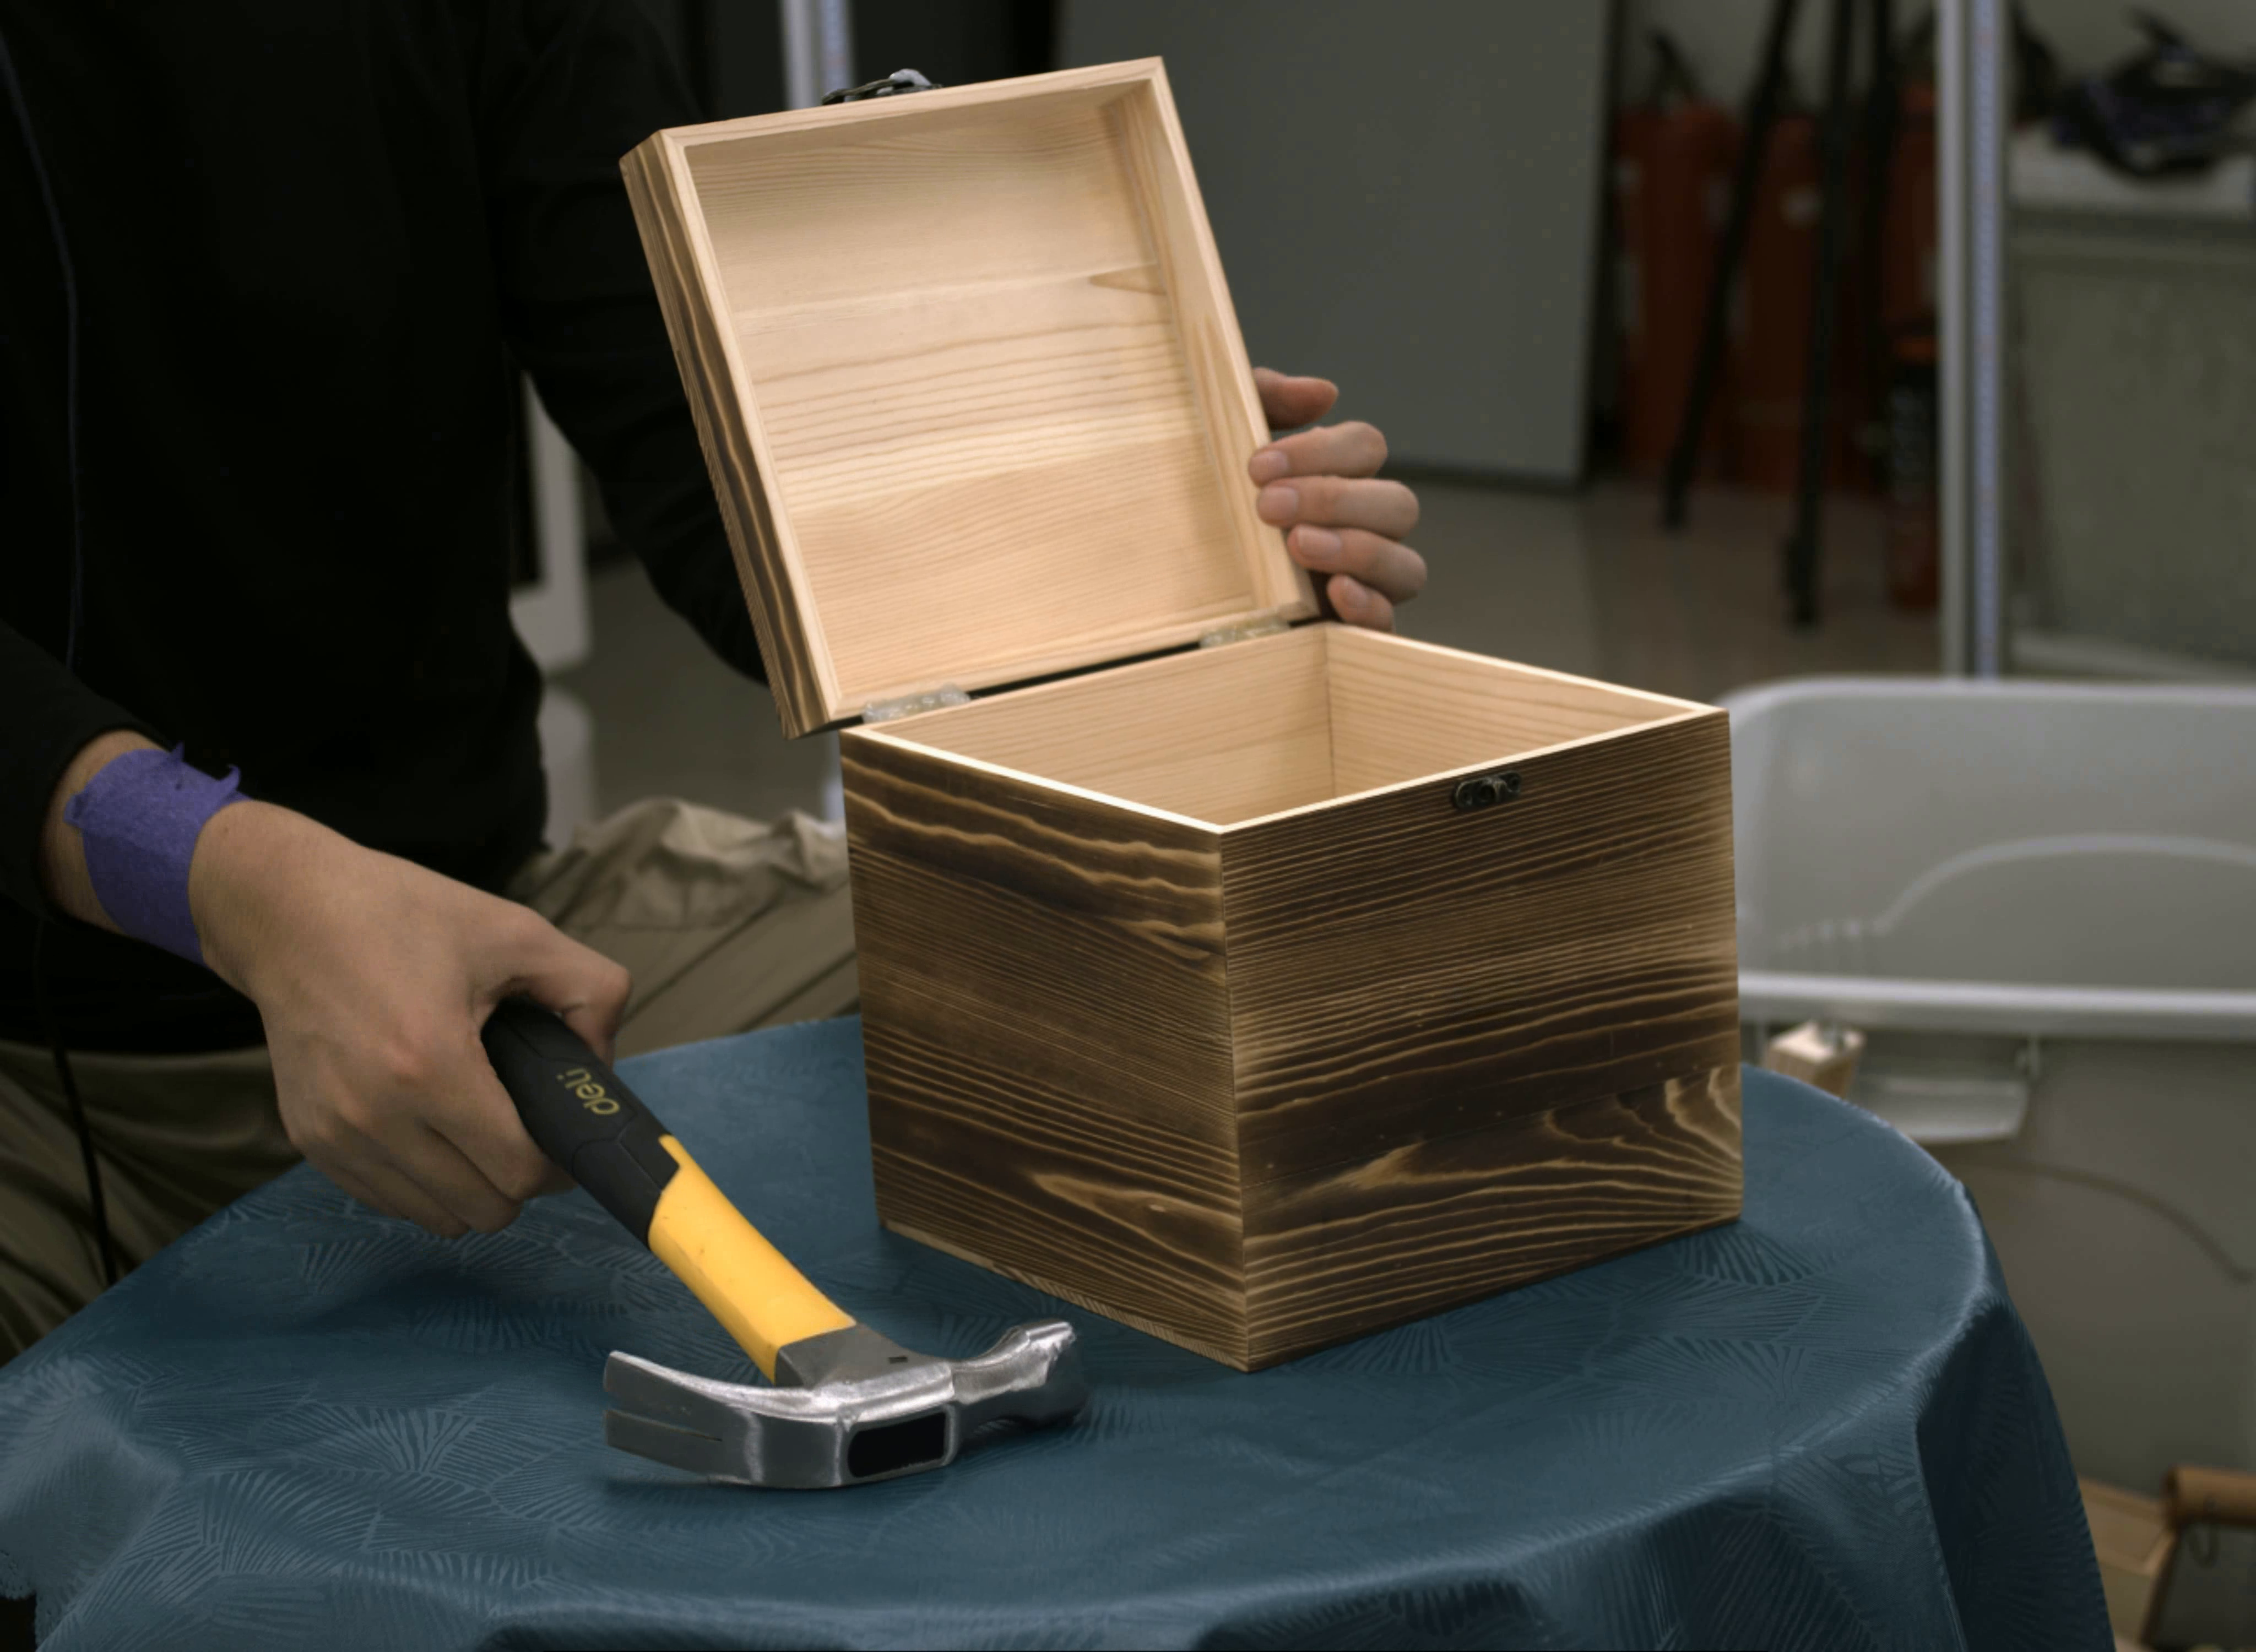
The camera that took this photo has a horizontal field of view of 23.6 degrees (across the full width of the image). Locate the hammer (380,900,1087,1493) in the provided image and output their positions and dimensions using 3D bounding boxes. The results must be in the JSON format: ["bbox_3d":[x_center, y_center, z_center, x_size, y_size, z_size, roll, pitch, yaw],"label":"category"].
[{"bbox_3d":[-0.148,0.105,1.658,0.128,0.032,0.342,-12,31,-27],"label":"hammer"}]

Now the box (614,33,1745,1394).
[{"bbox_3d":[0.014,-0.054,1.729,0.204,0.379,0.325,-14,16,-33],"label":"box"}]
